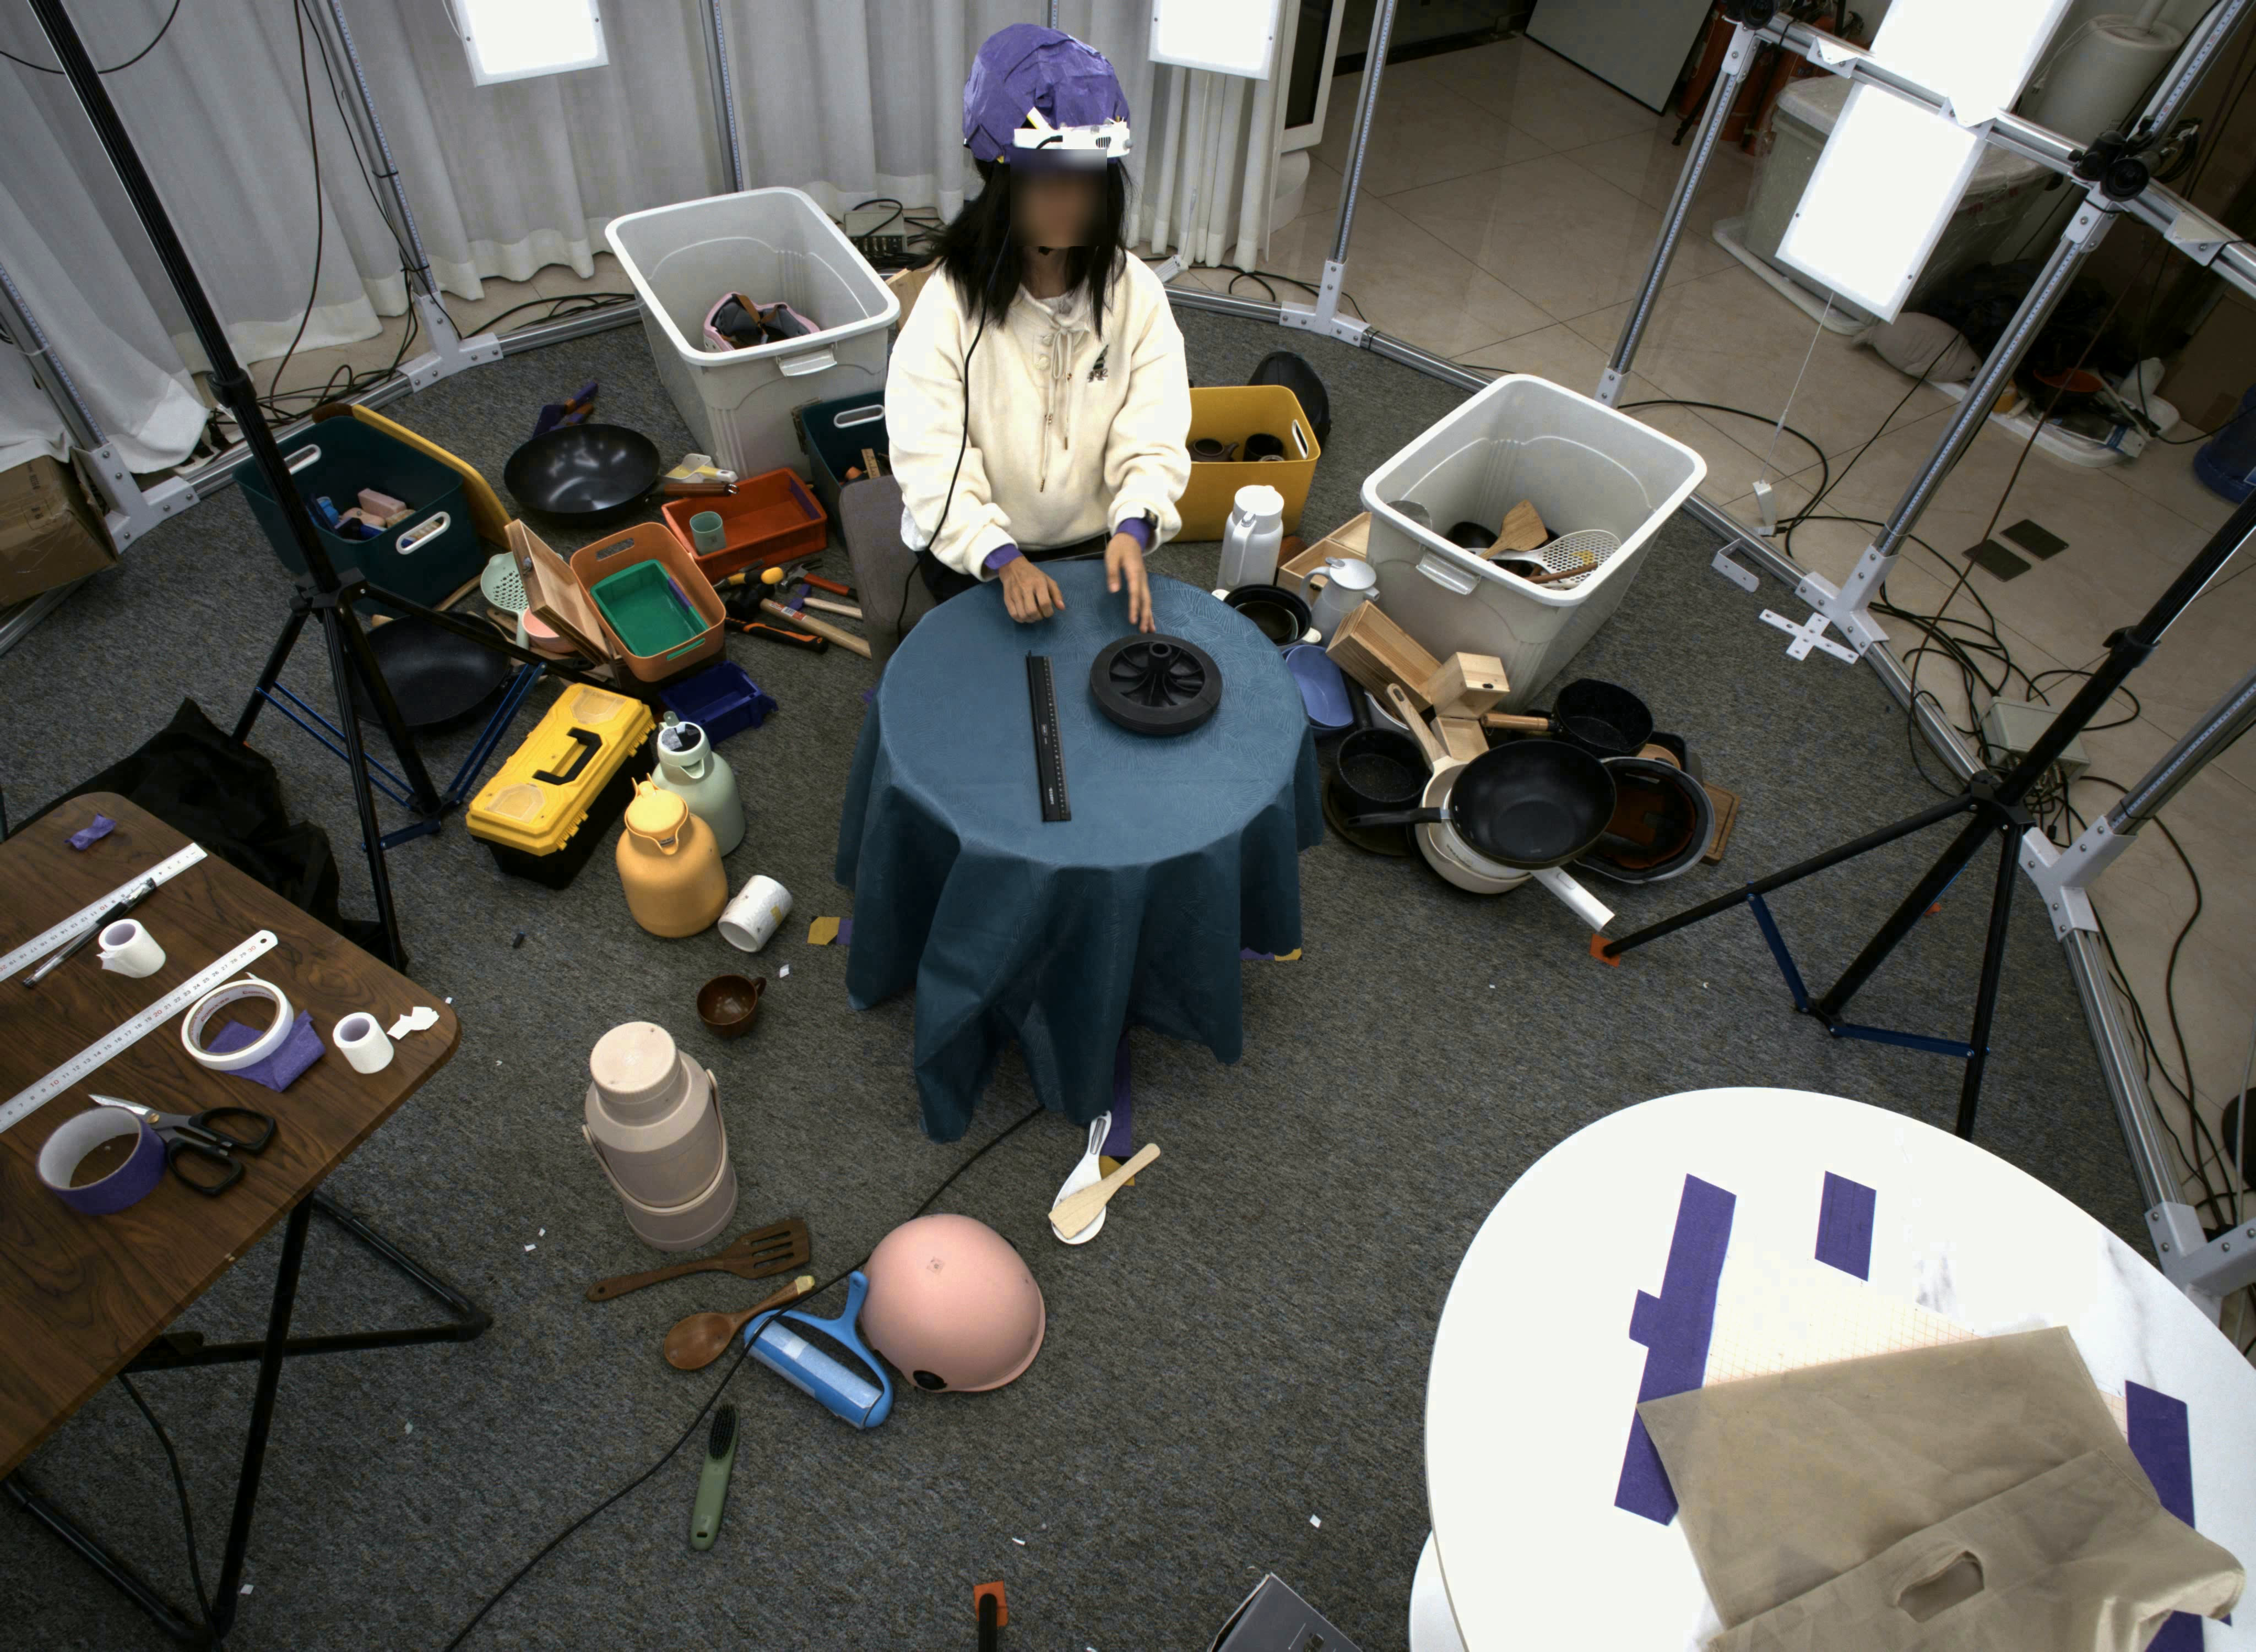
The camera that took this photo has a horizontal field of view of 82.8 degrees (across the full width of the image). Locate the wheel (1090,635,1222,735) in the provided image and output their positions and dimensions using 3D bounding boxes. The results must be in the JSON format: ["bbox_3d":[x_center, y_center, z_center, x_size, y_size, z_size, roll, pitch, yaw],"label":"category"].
[{"bbox_3d":[0.042,-0.217,1.812,0.190,0.077,0.192,-12,51,-16],"label":"wheel"}]

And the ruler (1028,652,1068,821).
[{"bbox_3d":[-0.110,-0.130,1.765,0.039,0.017,0.320,0,49,-9],"label":"ruler"}]
